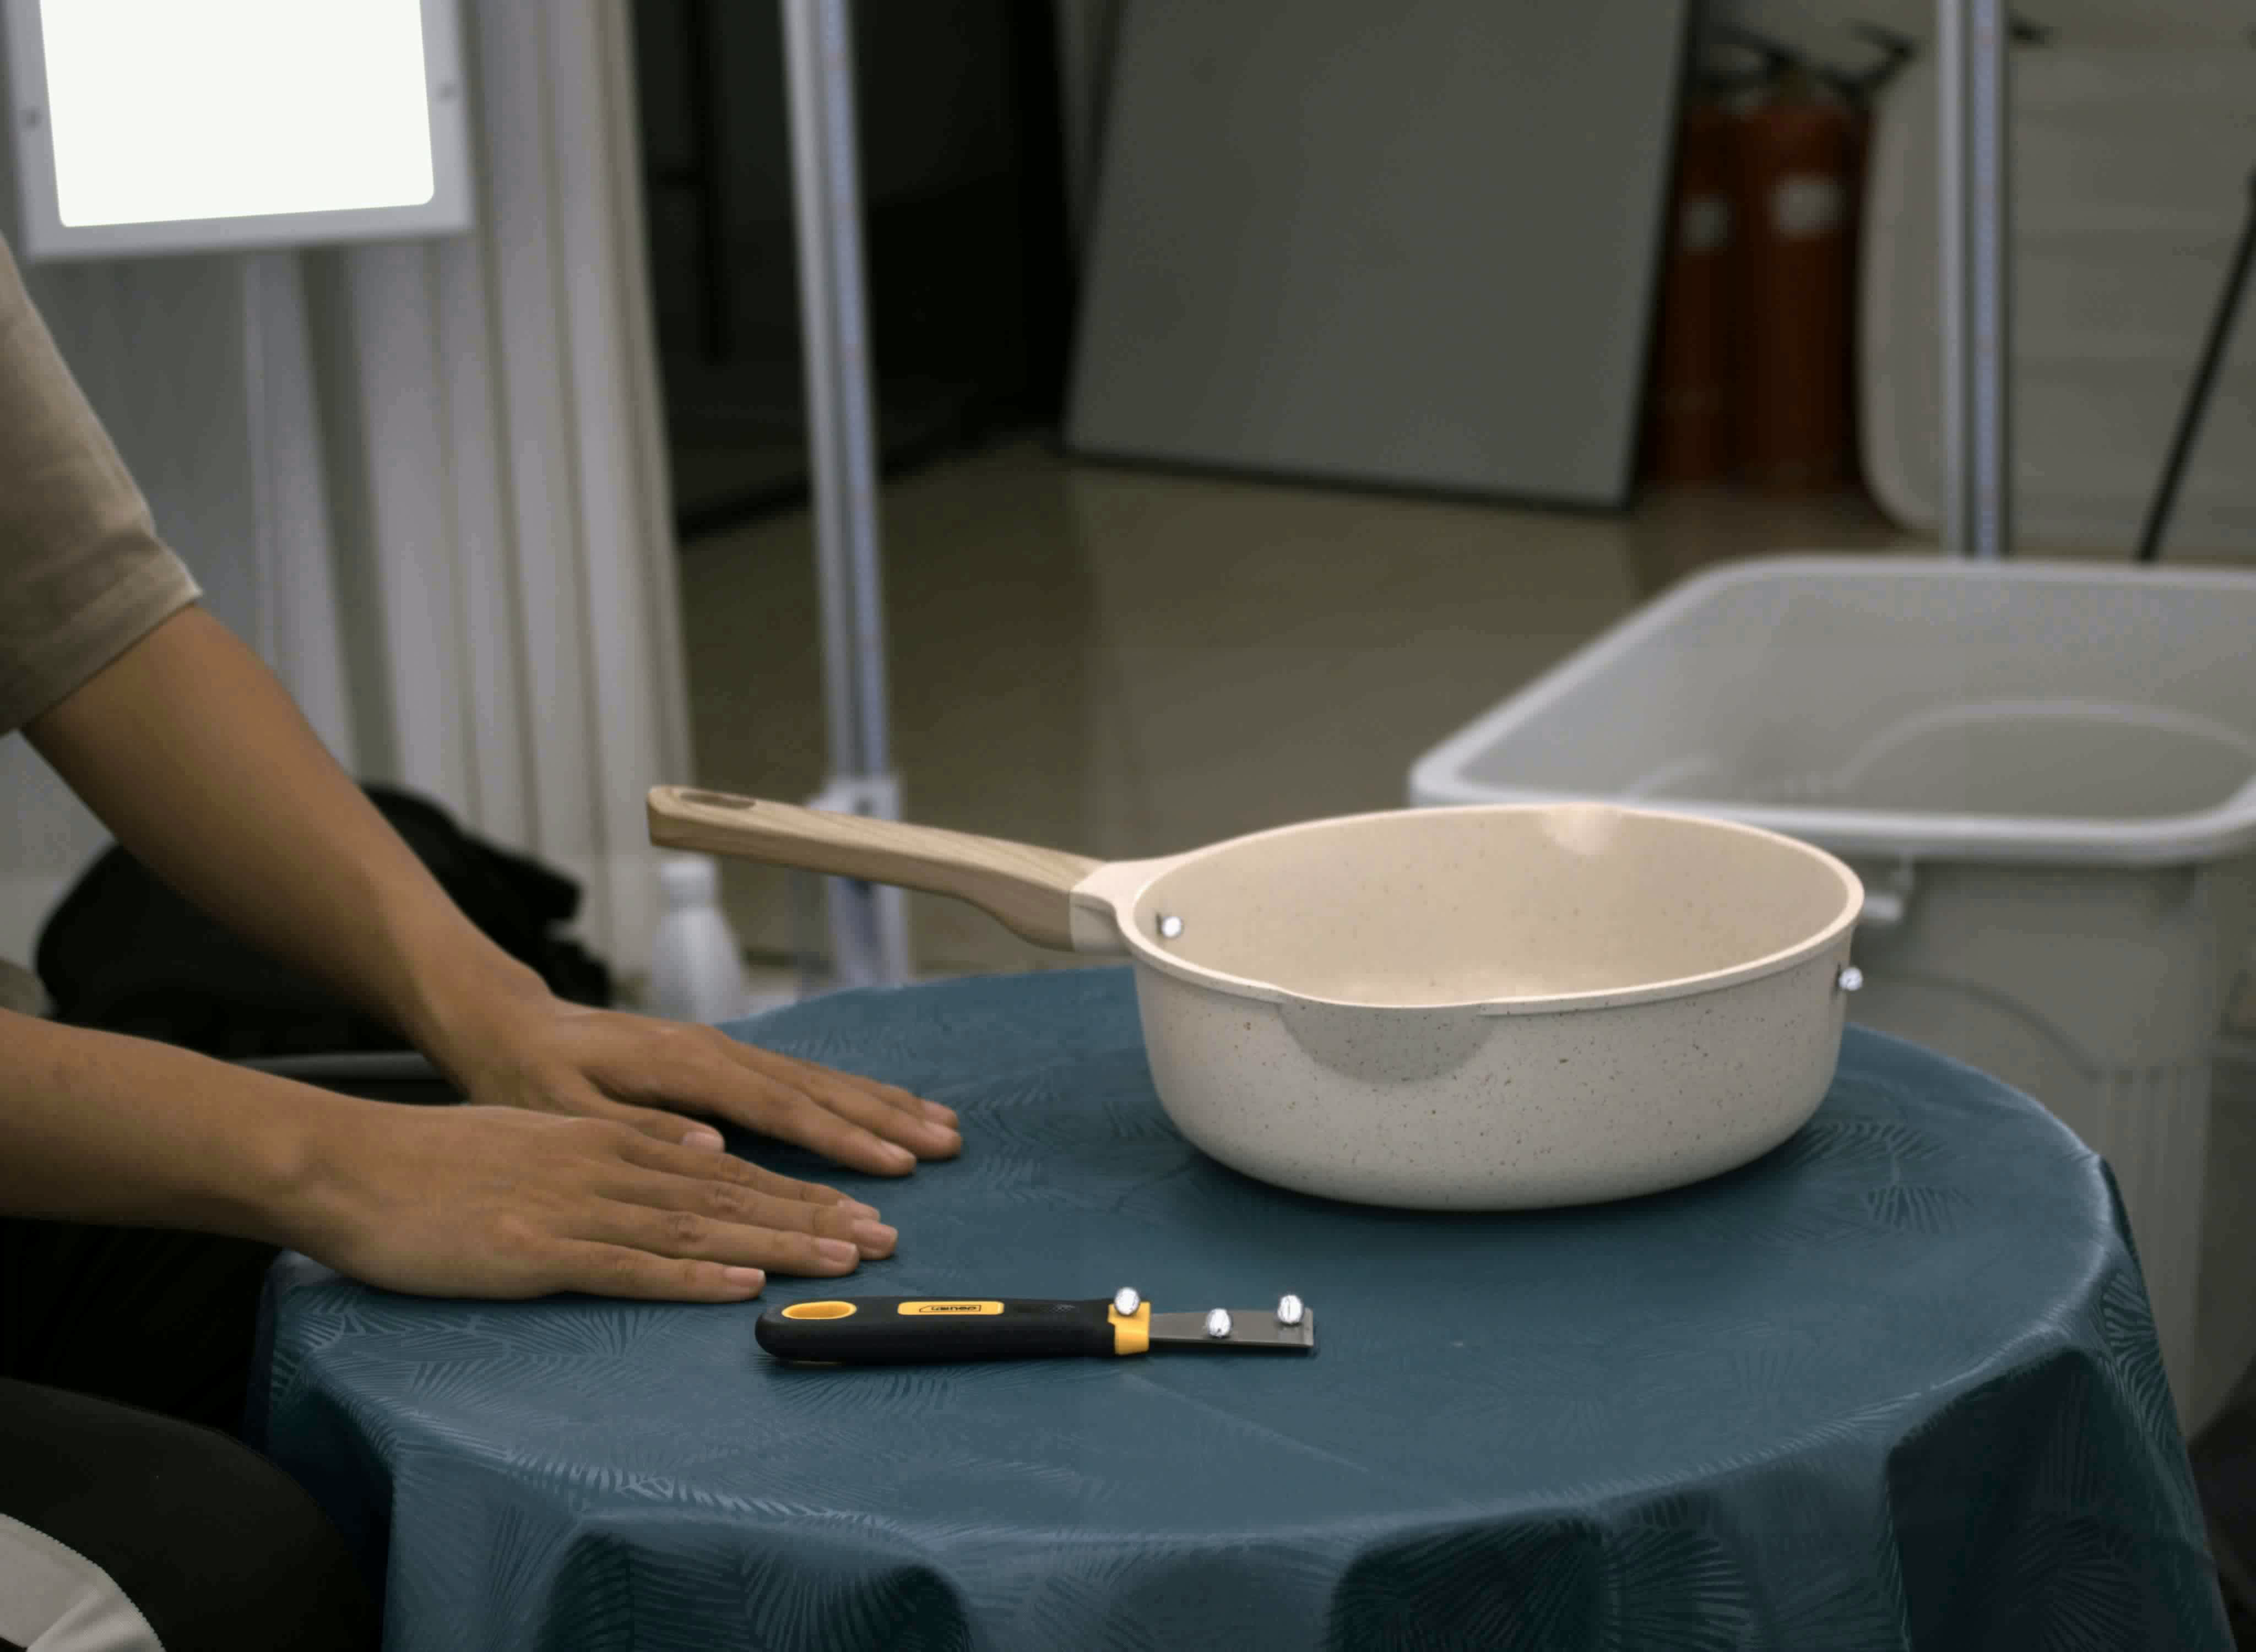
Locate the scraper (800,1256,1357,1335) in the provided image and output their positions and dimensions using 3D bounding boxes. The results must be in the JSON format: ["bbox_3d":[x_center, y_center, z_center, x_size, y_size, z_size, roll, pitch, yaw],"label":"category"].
[{"bbox_3d":[-0.015,0.141,1.634,0.169,0.015,0.039,-1,17,0],"label":"scraper"}]

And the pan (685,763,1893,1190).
[{"bbox_3d":[0.050,0.044,1.860,0.434,0.103,0.261,1,17,22],"label":"pan"}]
